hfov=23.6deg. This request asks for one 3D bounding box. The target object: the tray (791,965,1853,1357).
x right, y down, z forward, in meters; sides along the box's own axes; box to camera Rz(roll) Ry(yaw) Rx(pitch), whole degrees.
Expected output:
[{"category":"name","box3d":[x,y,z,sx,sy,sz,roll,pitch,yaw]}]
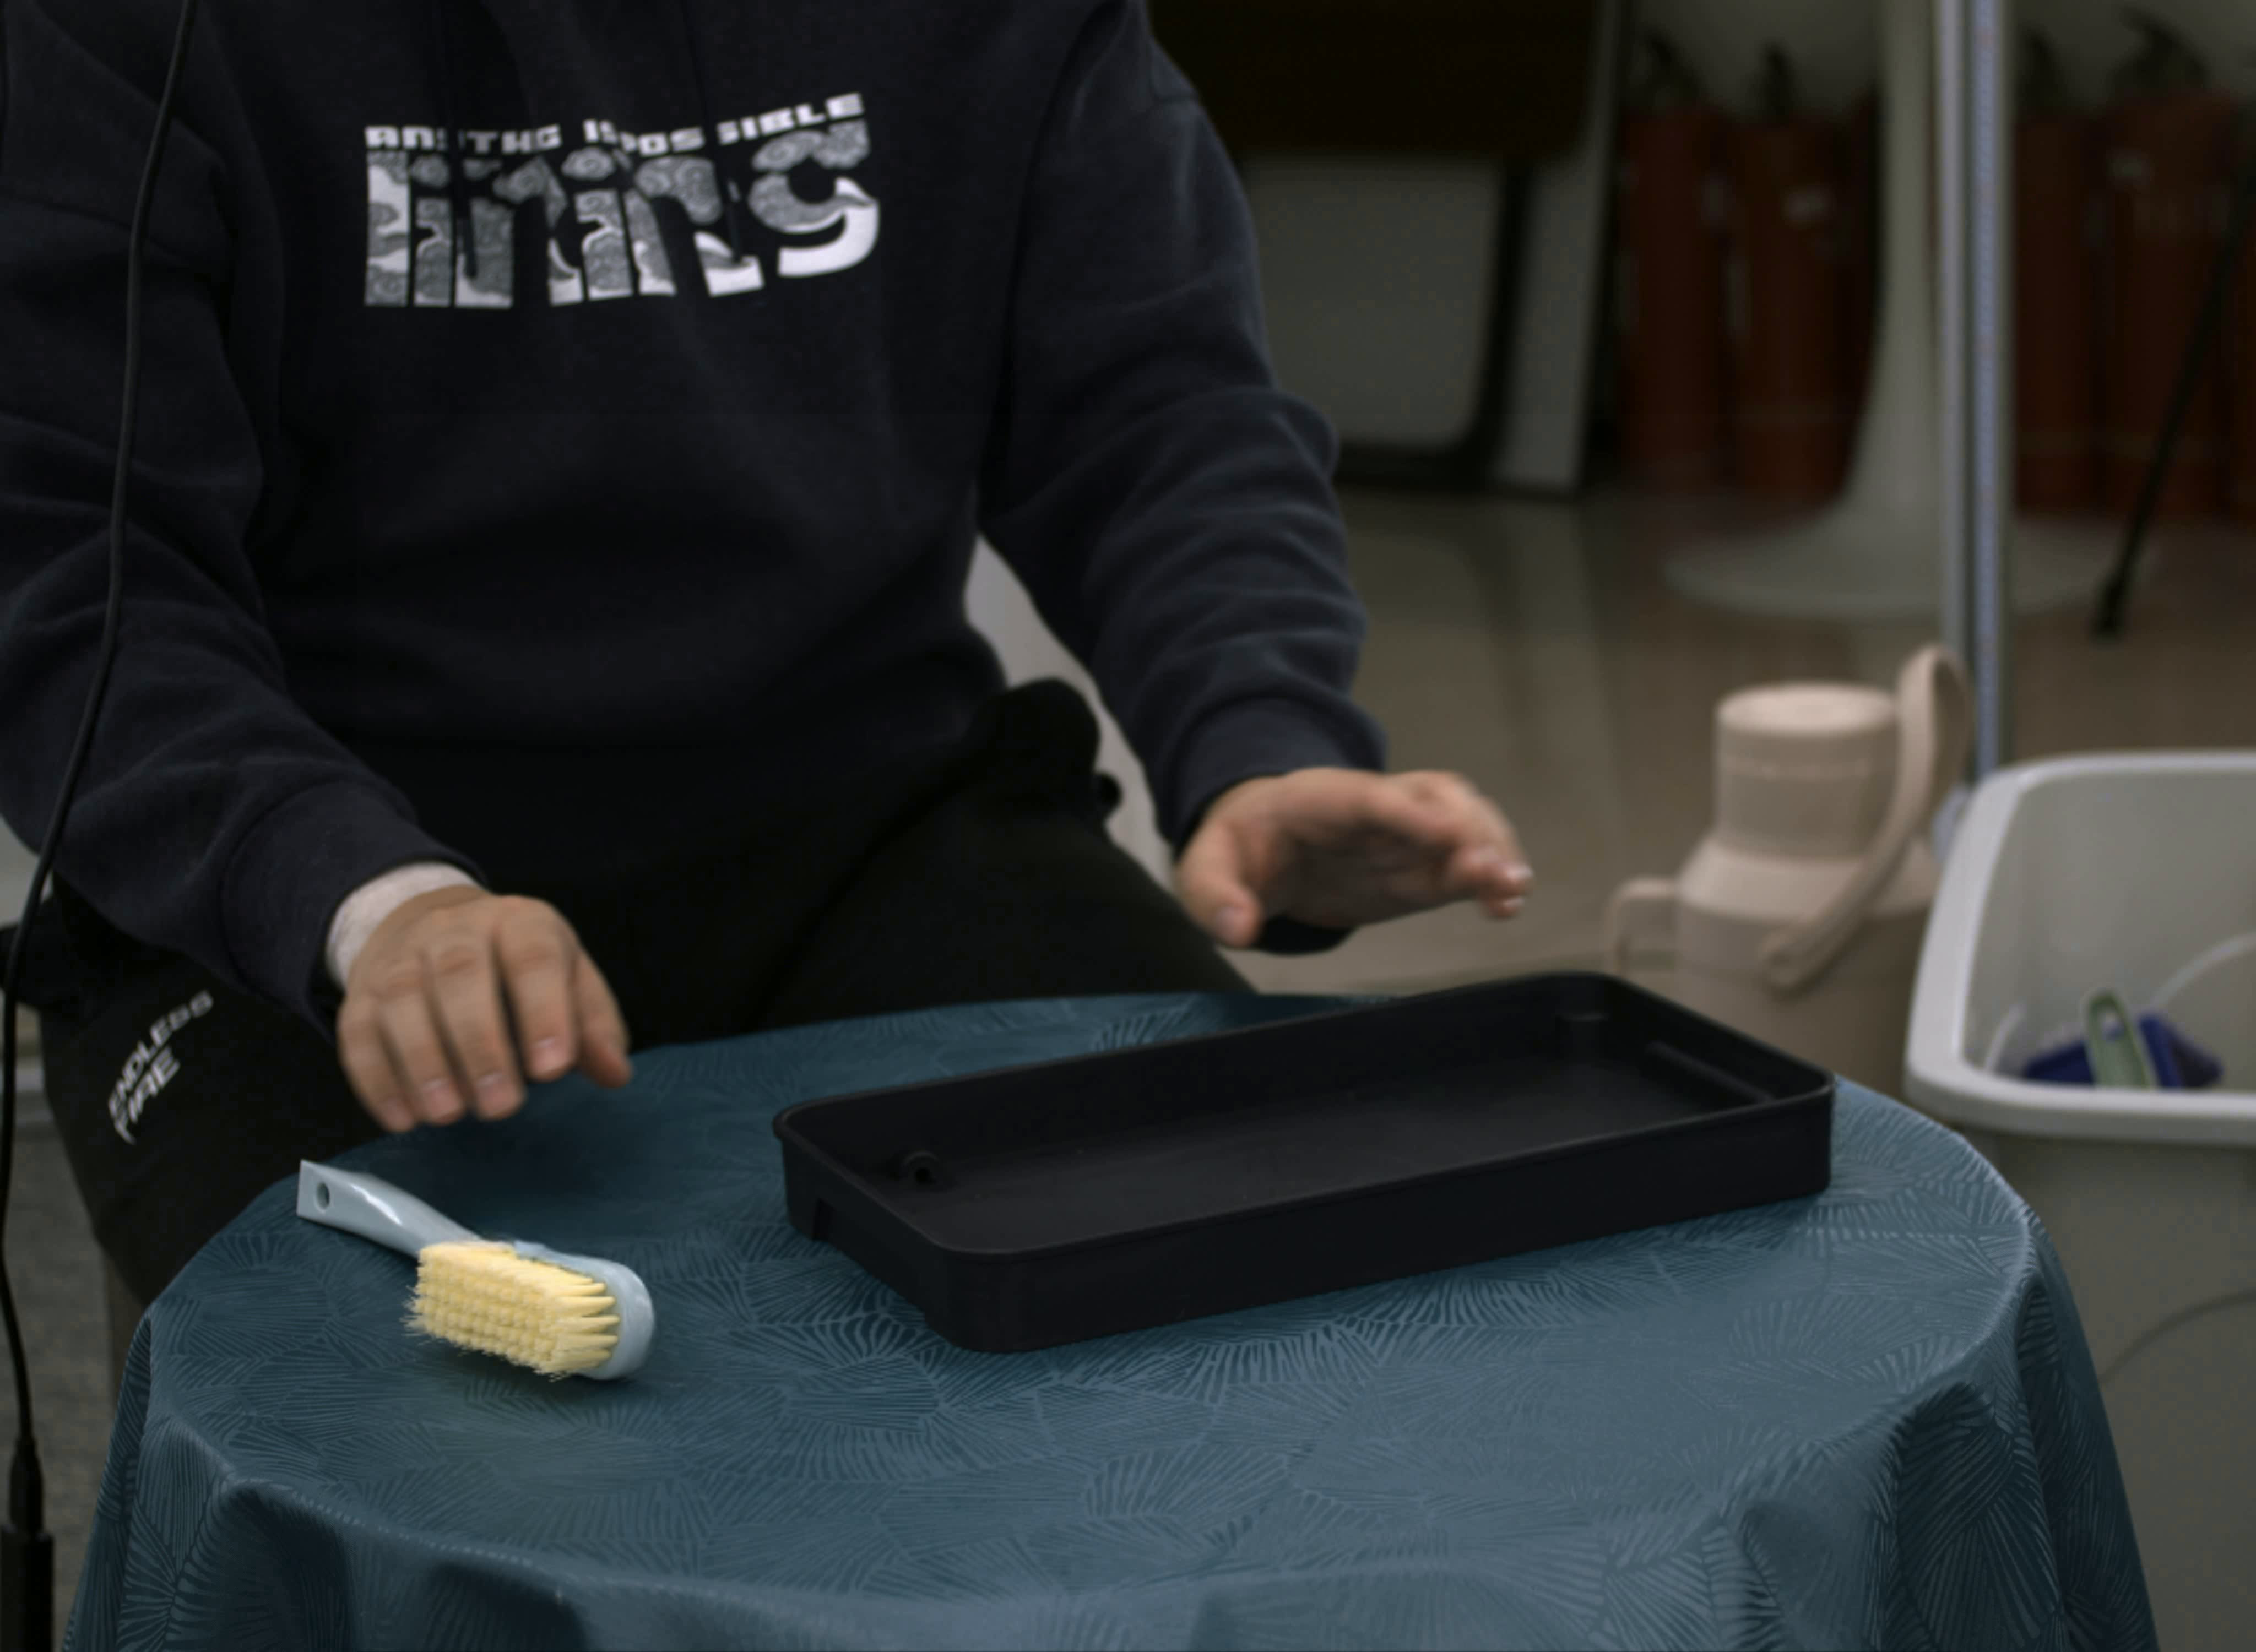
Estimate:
[{"category":"tray","box3d":[0.063,0.104,1.751,0.311,0.037,0.186,-10,14,-23]}]

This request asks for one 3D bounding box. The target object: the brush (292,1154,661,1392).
[{"category":"brush","box3d":[-0.217,0.136,1.697,0.048,0.038,0.231,-5,13,-31]}]
